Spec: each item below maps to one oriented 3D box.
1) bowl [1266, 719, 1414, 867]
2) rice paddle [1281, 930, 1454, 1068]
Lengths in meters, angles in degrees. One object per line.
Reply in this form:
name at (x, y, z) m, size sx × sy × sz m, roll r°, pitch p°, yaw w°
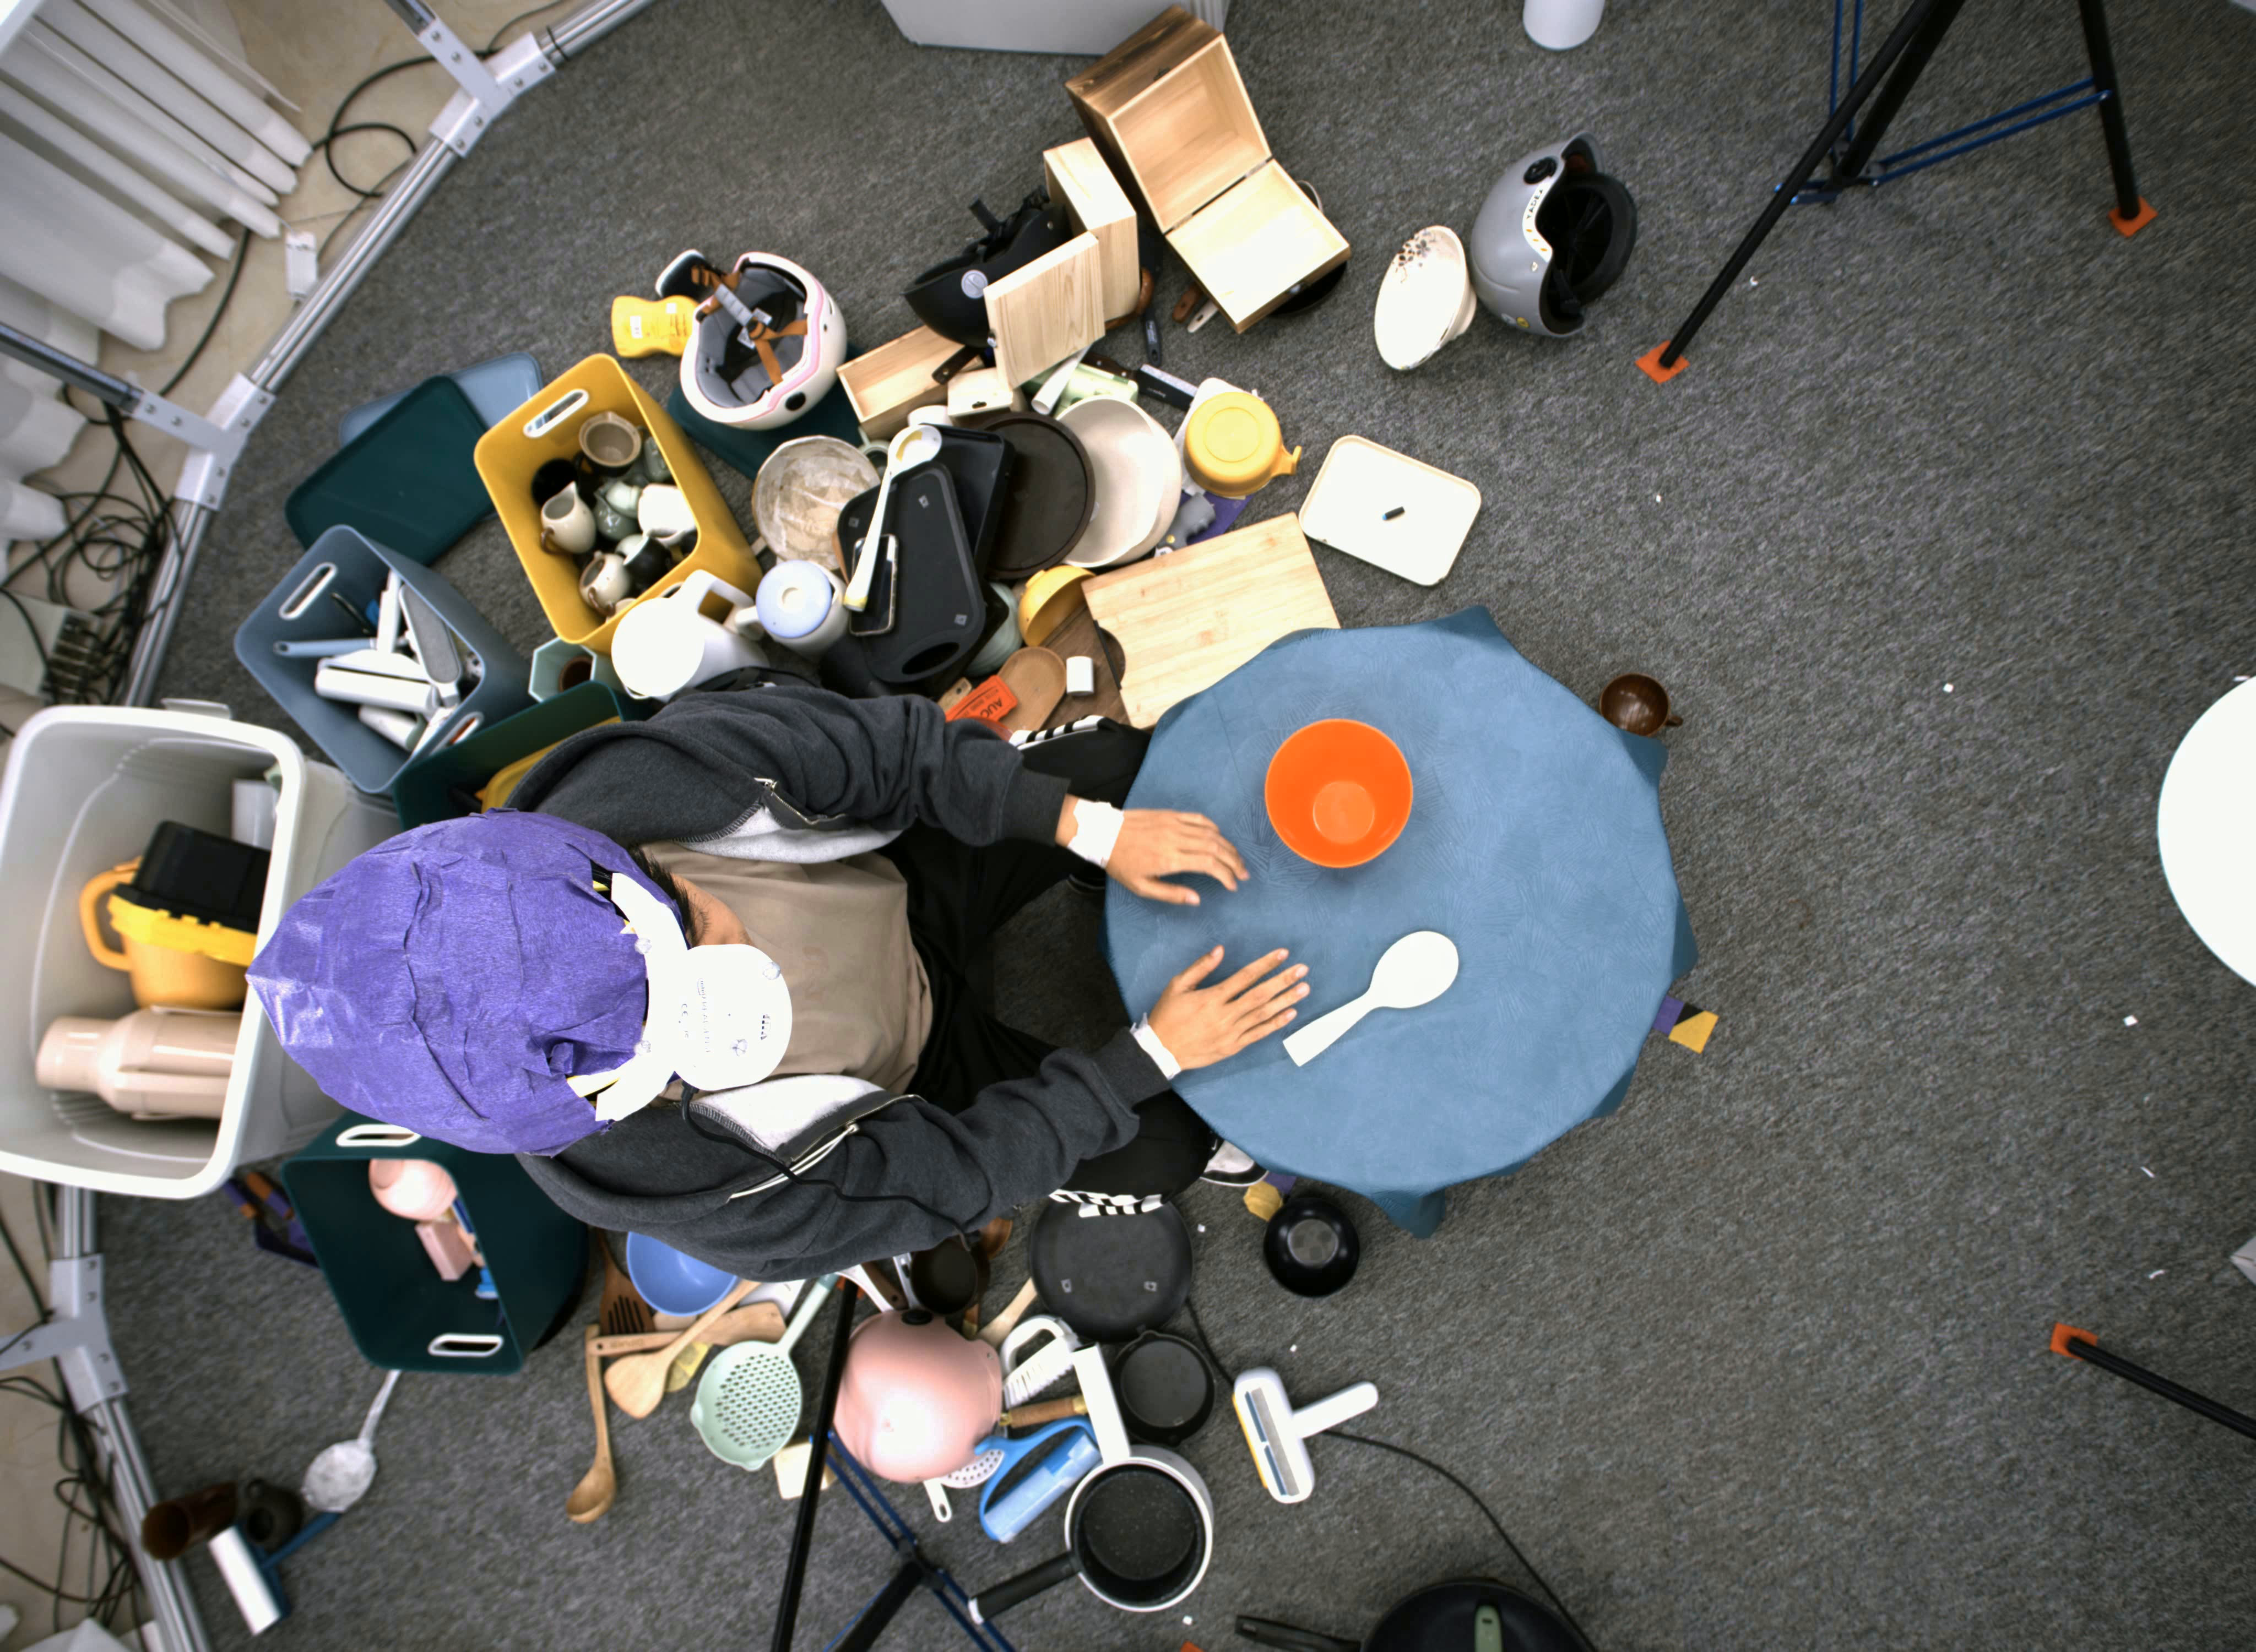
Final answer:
bowl at (0.219, -0.031, 1.424) m, size 0.148 × 0.104 × 0.147 m, roll -1°, pitch 87°, yaw 9°
rice paddle at (0.251, 0.180, 1.441) m, size 0.206 × 0.029 × 0.068 m, roll -36°, pitch 82°, yaw 6°
